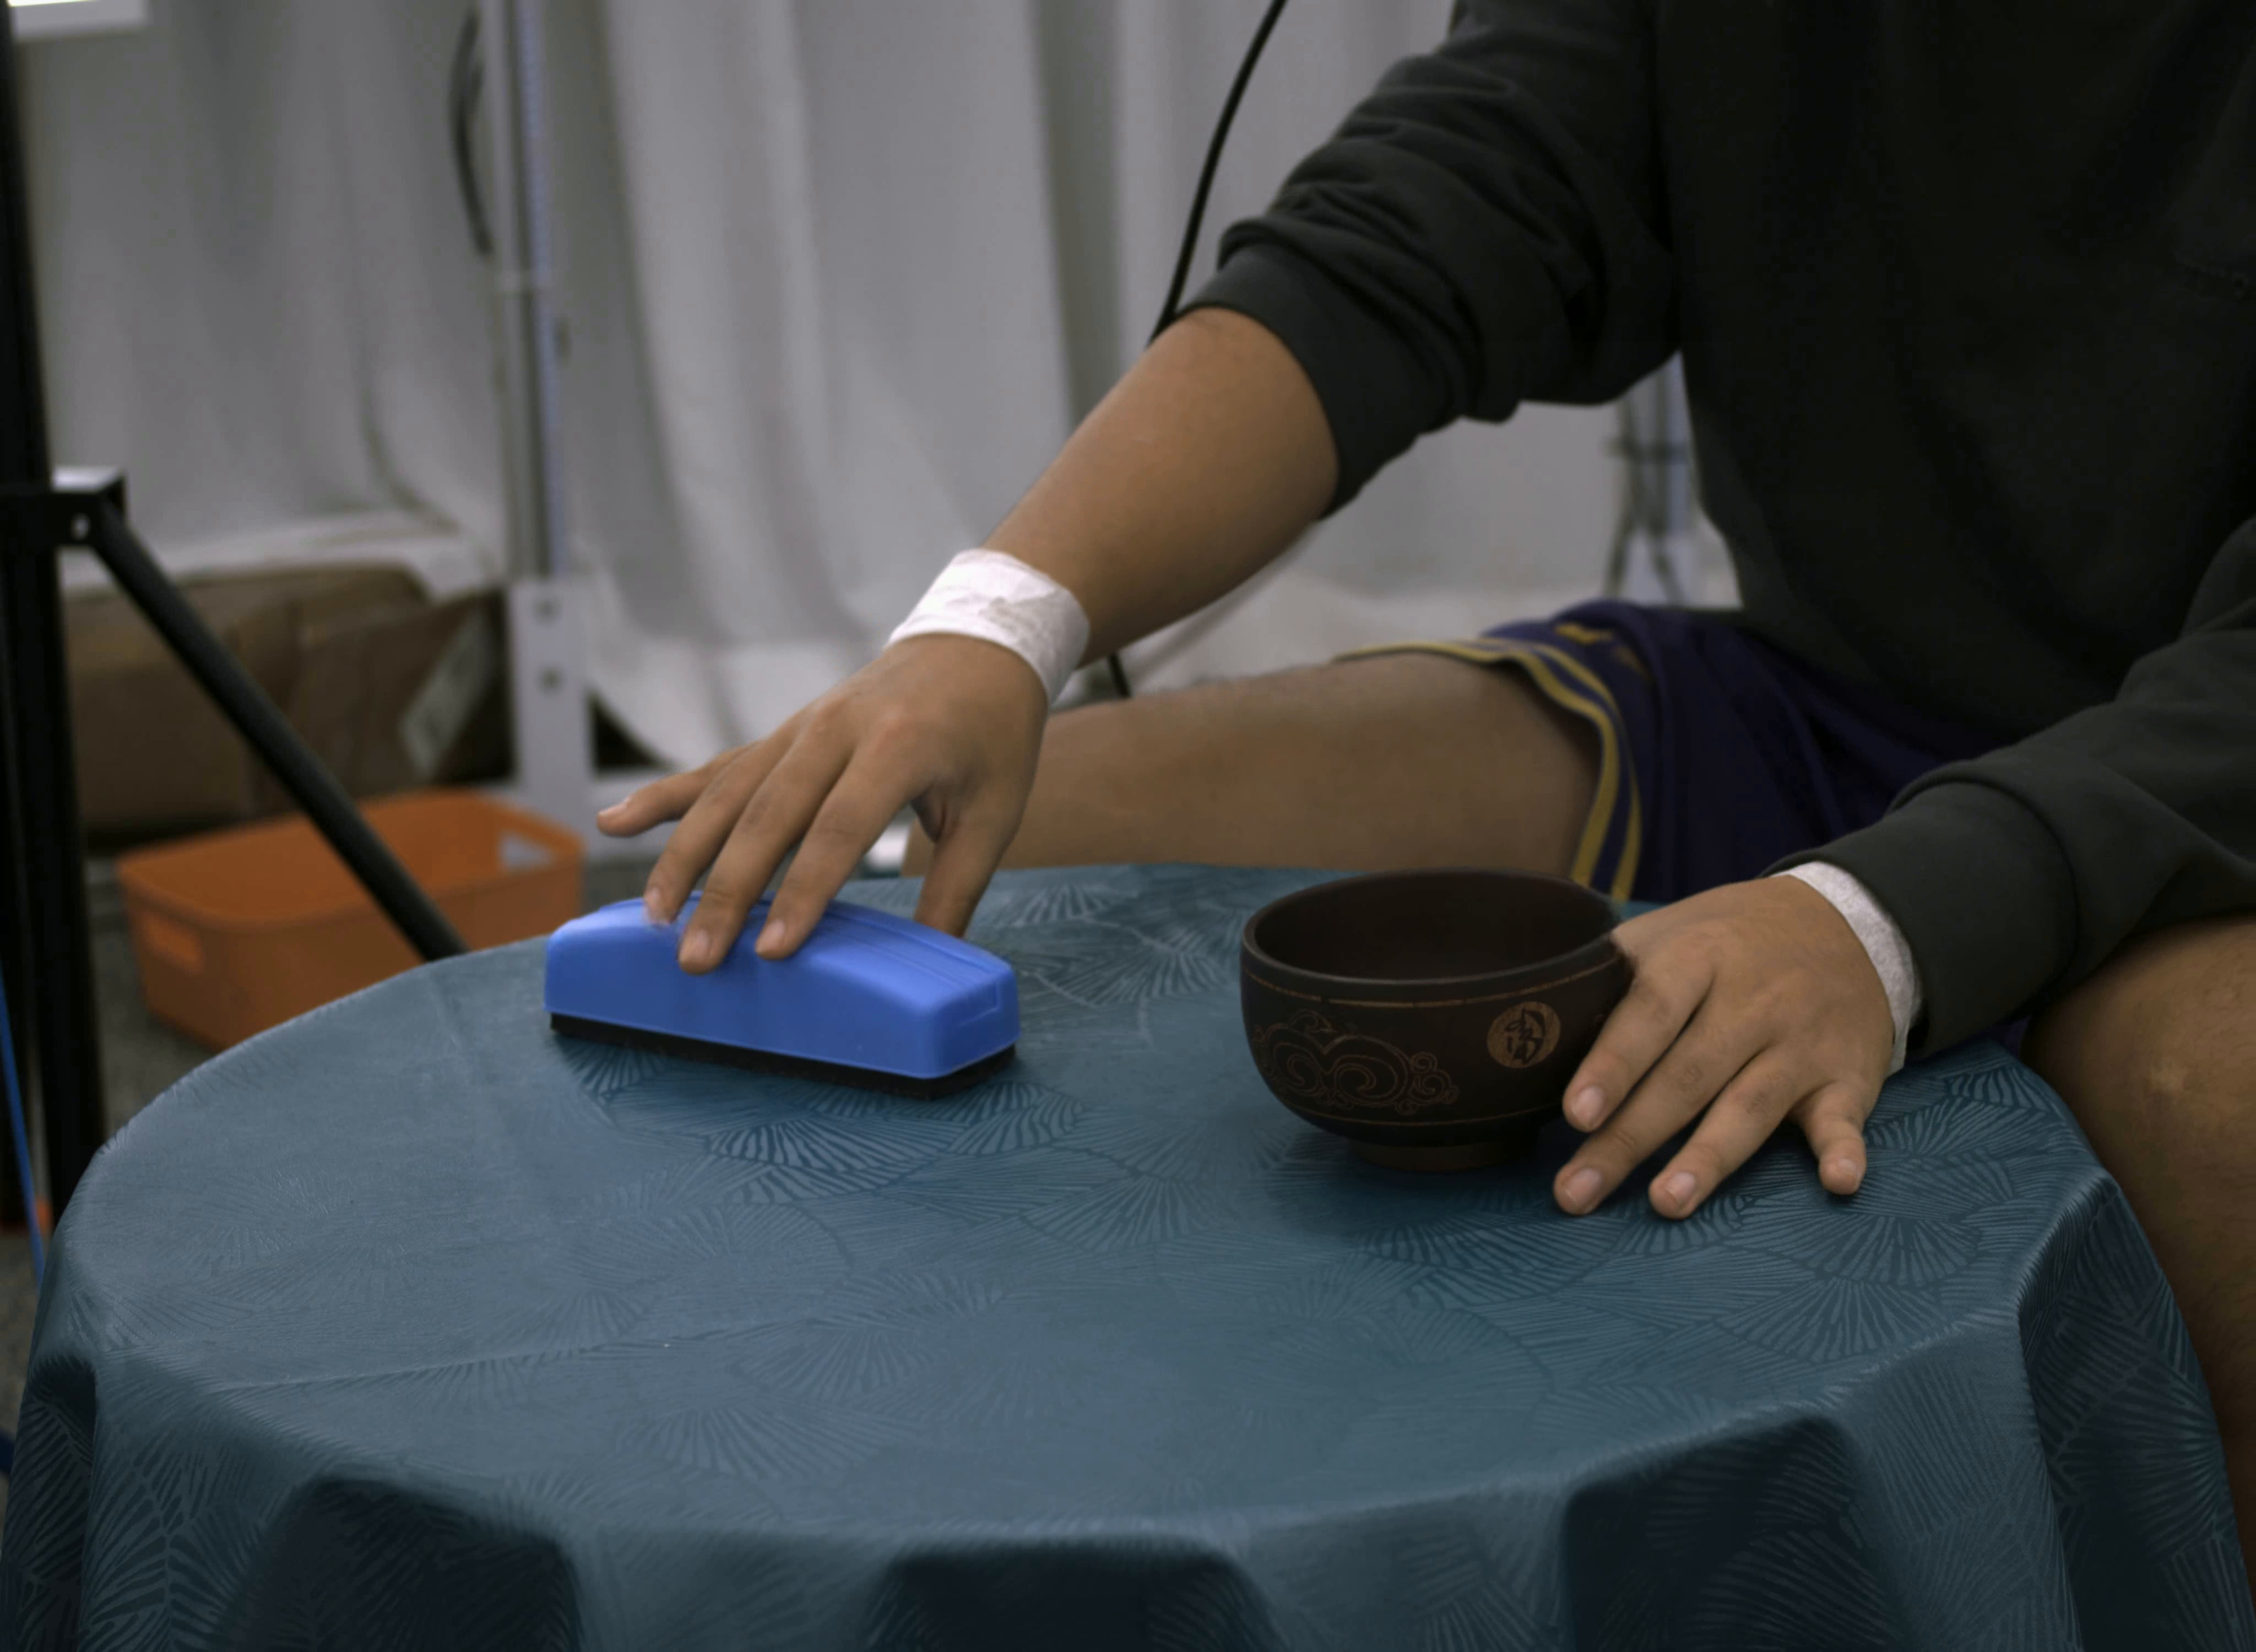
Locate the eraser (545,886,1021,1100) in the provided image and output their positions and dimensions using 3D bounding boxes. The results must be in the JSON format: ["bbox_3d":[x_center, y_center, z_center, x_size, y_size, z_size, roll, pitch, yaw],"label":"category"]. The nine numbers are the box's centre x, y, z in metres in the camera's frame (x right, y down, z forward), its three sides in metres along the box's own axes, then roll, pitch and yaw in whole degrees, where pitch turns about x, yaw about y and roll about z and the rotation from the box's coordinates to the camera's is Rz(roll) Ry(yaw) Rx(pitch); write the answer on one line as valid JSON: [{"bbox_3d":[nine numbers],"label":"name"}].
[{"bbox_3d":[-0.112,0.049,1.704,0.165,0.047,0.053,8,21,33],"label":"eraser"}]

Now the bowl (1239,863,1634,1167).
[{"bbox_3d":[0.093,0.060,1.578,0.117,0.070,0.118,-4,15,0],"label":"bowl"}]
